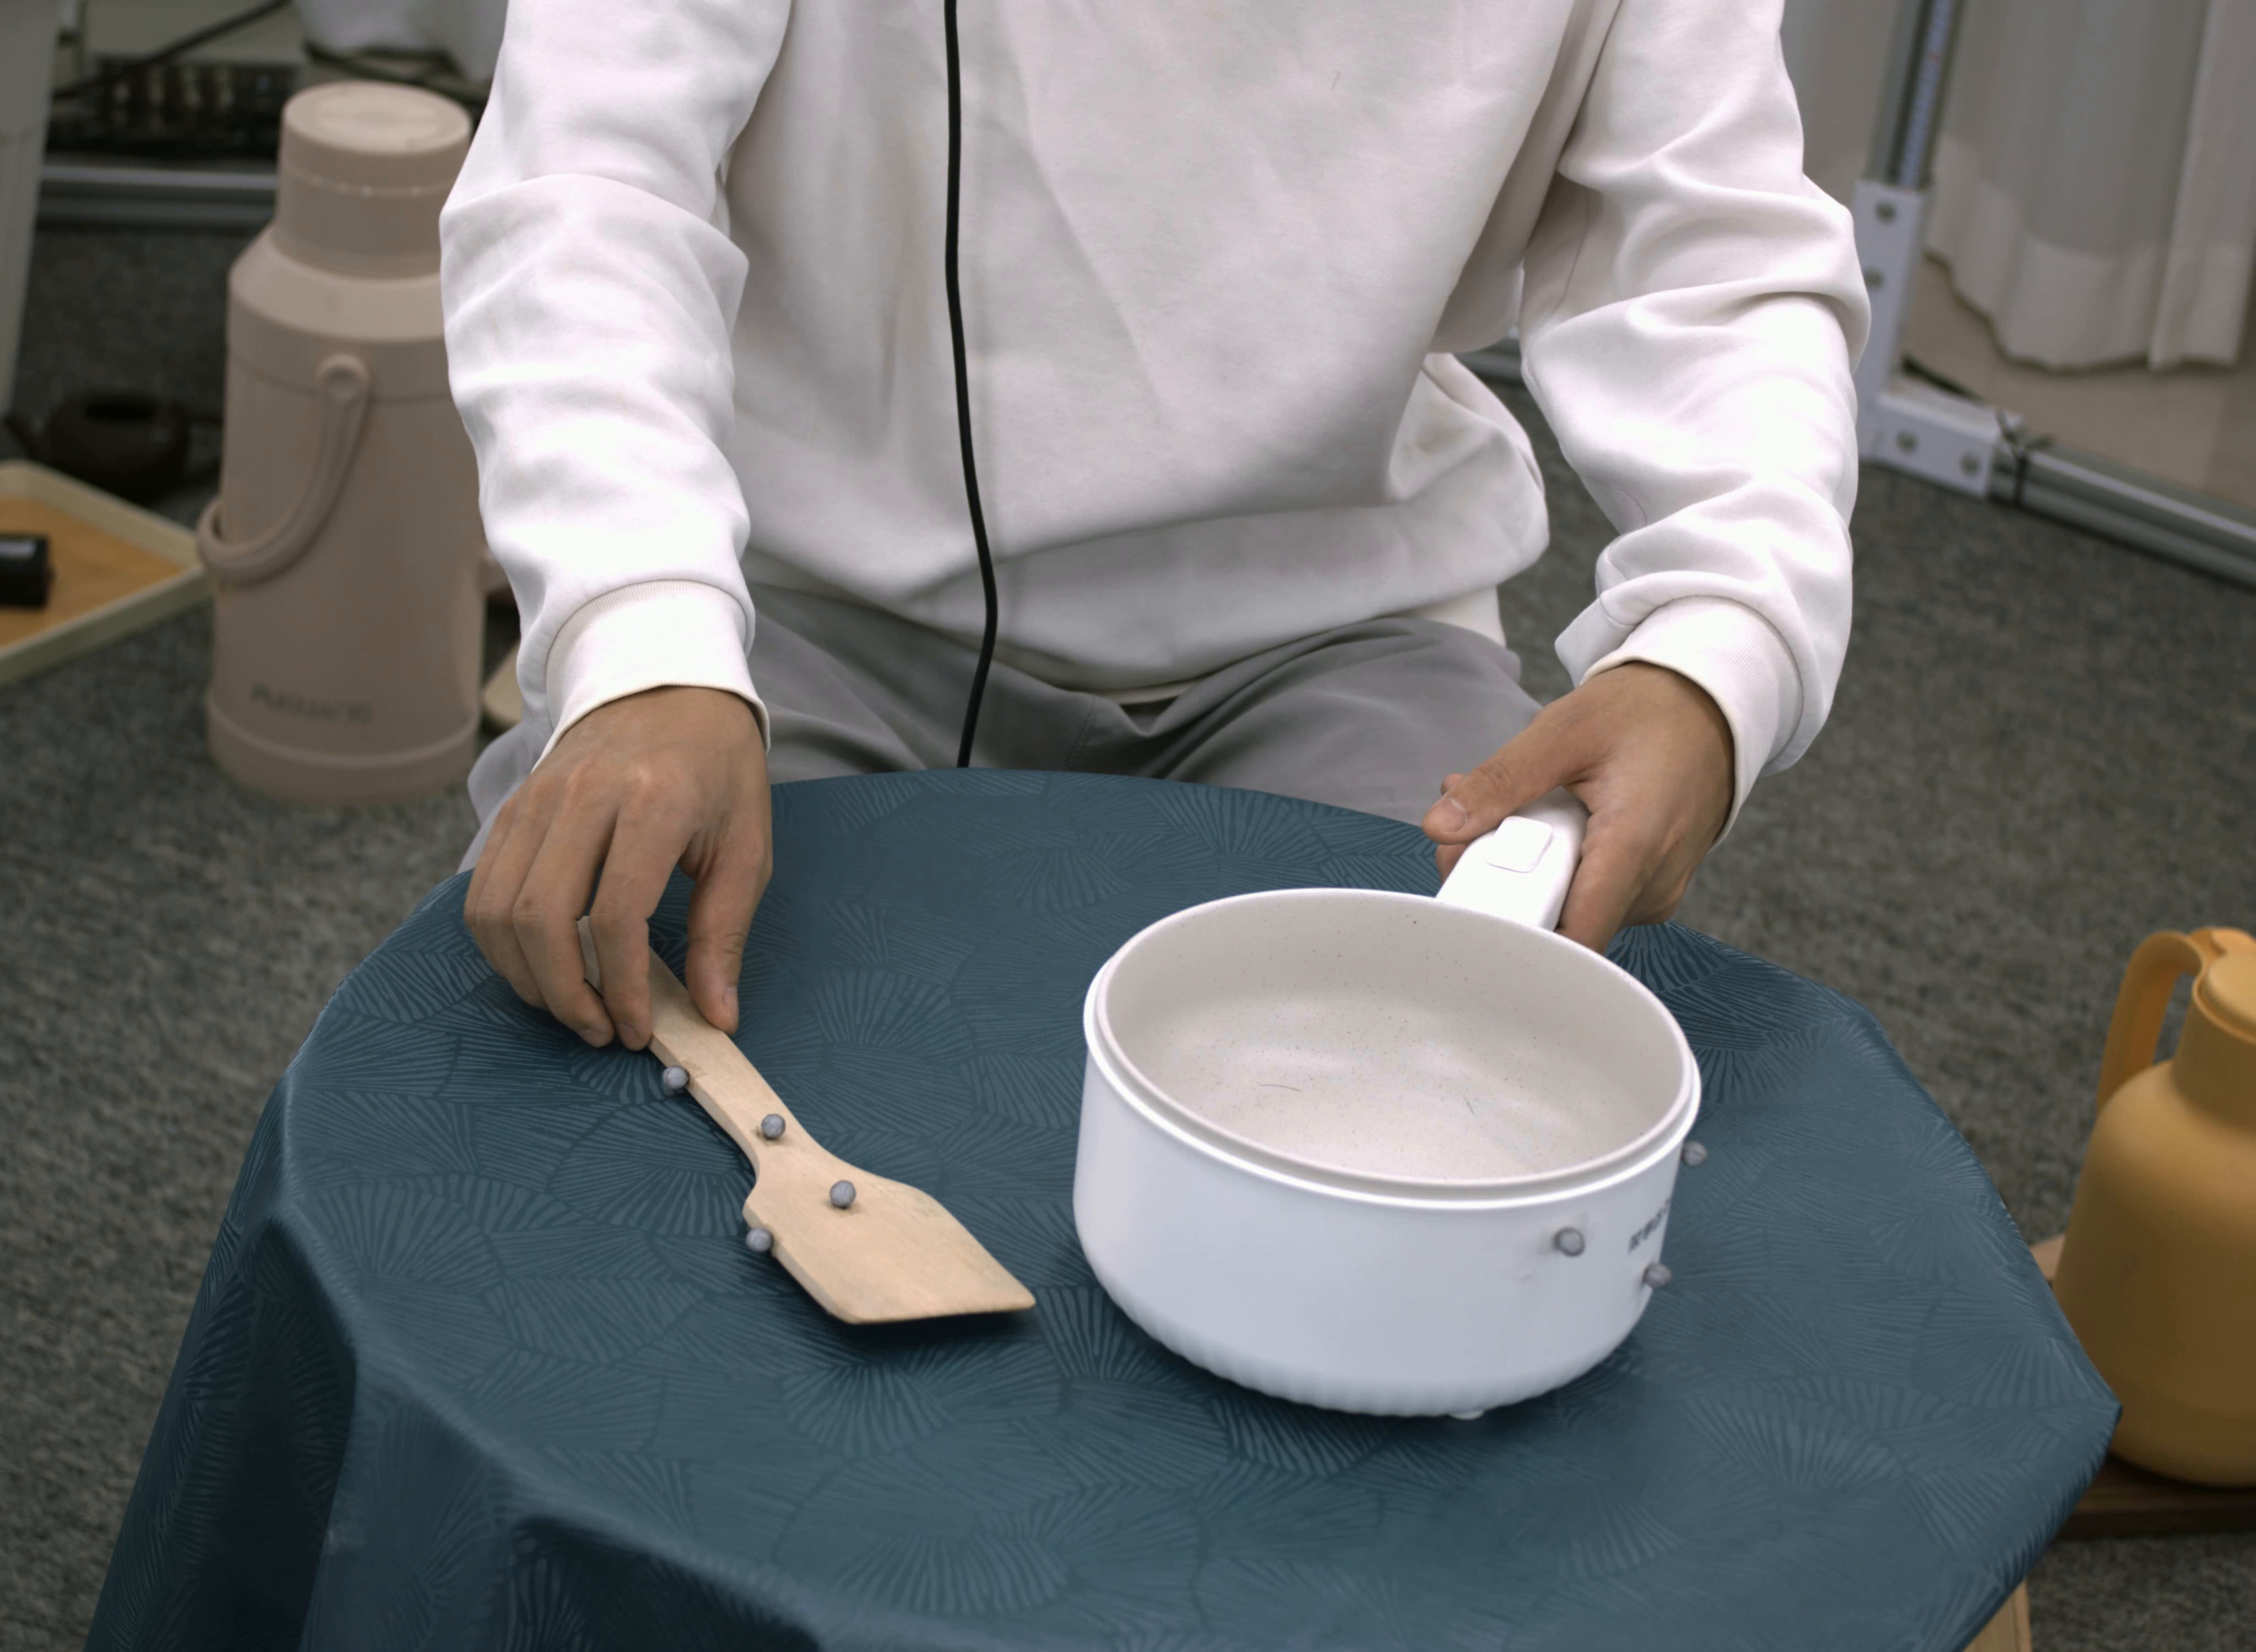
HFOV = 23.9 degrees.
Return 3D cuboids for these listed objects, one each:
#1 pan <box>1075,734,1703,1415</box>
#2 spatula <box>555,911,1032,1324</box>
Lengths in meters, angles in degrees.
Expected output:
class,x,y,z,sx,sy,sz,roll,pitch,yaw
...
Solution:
class,x,y,z,sx,sy,sz,roll,pitch,yaw
pan,0.106,0.079,1.806,0.201,0.102,0.355,14,27,14
spatula,-0.129,0.096,1.818,0.072,0.010,0.295,-4,27,-30
